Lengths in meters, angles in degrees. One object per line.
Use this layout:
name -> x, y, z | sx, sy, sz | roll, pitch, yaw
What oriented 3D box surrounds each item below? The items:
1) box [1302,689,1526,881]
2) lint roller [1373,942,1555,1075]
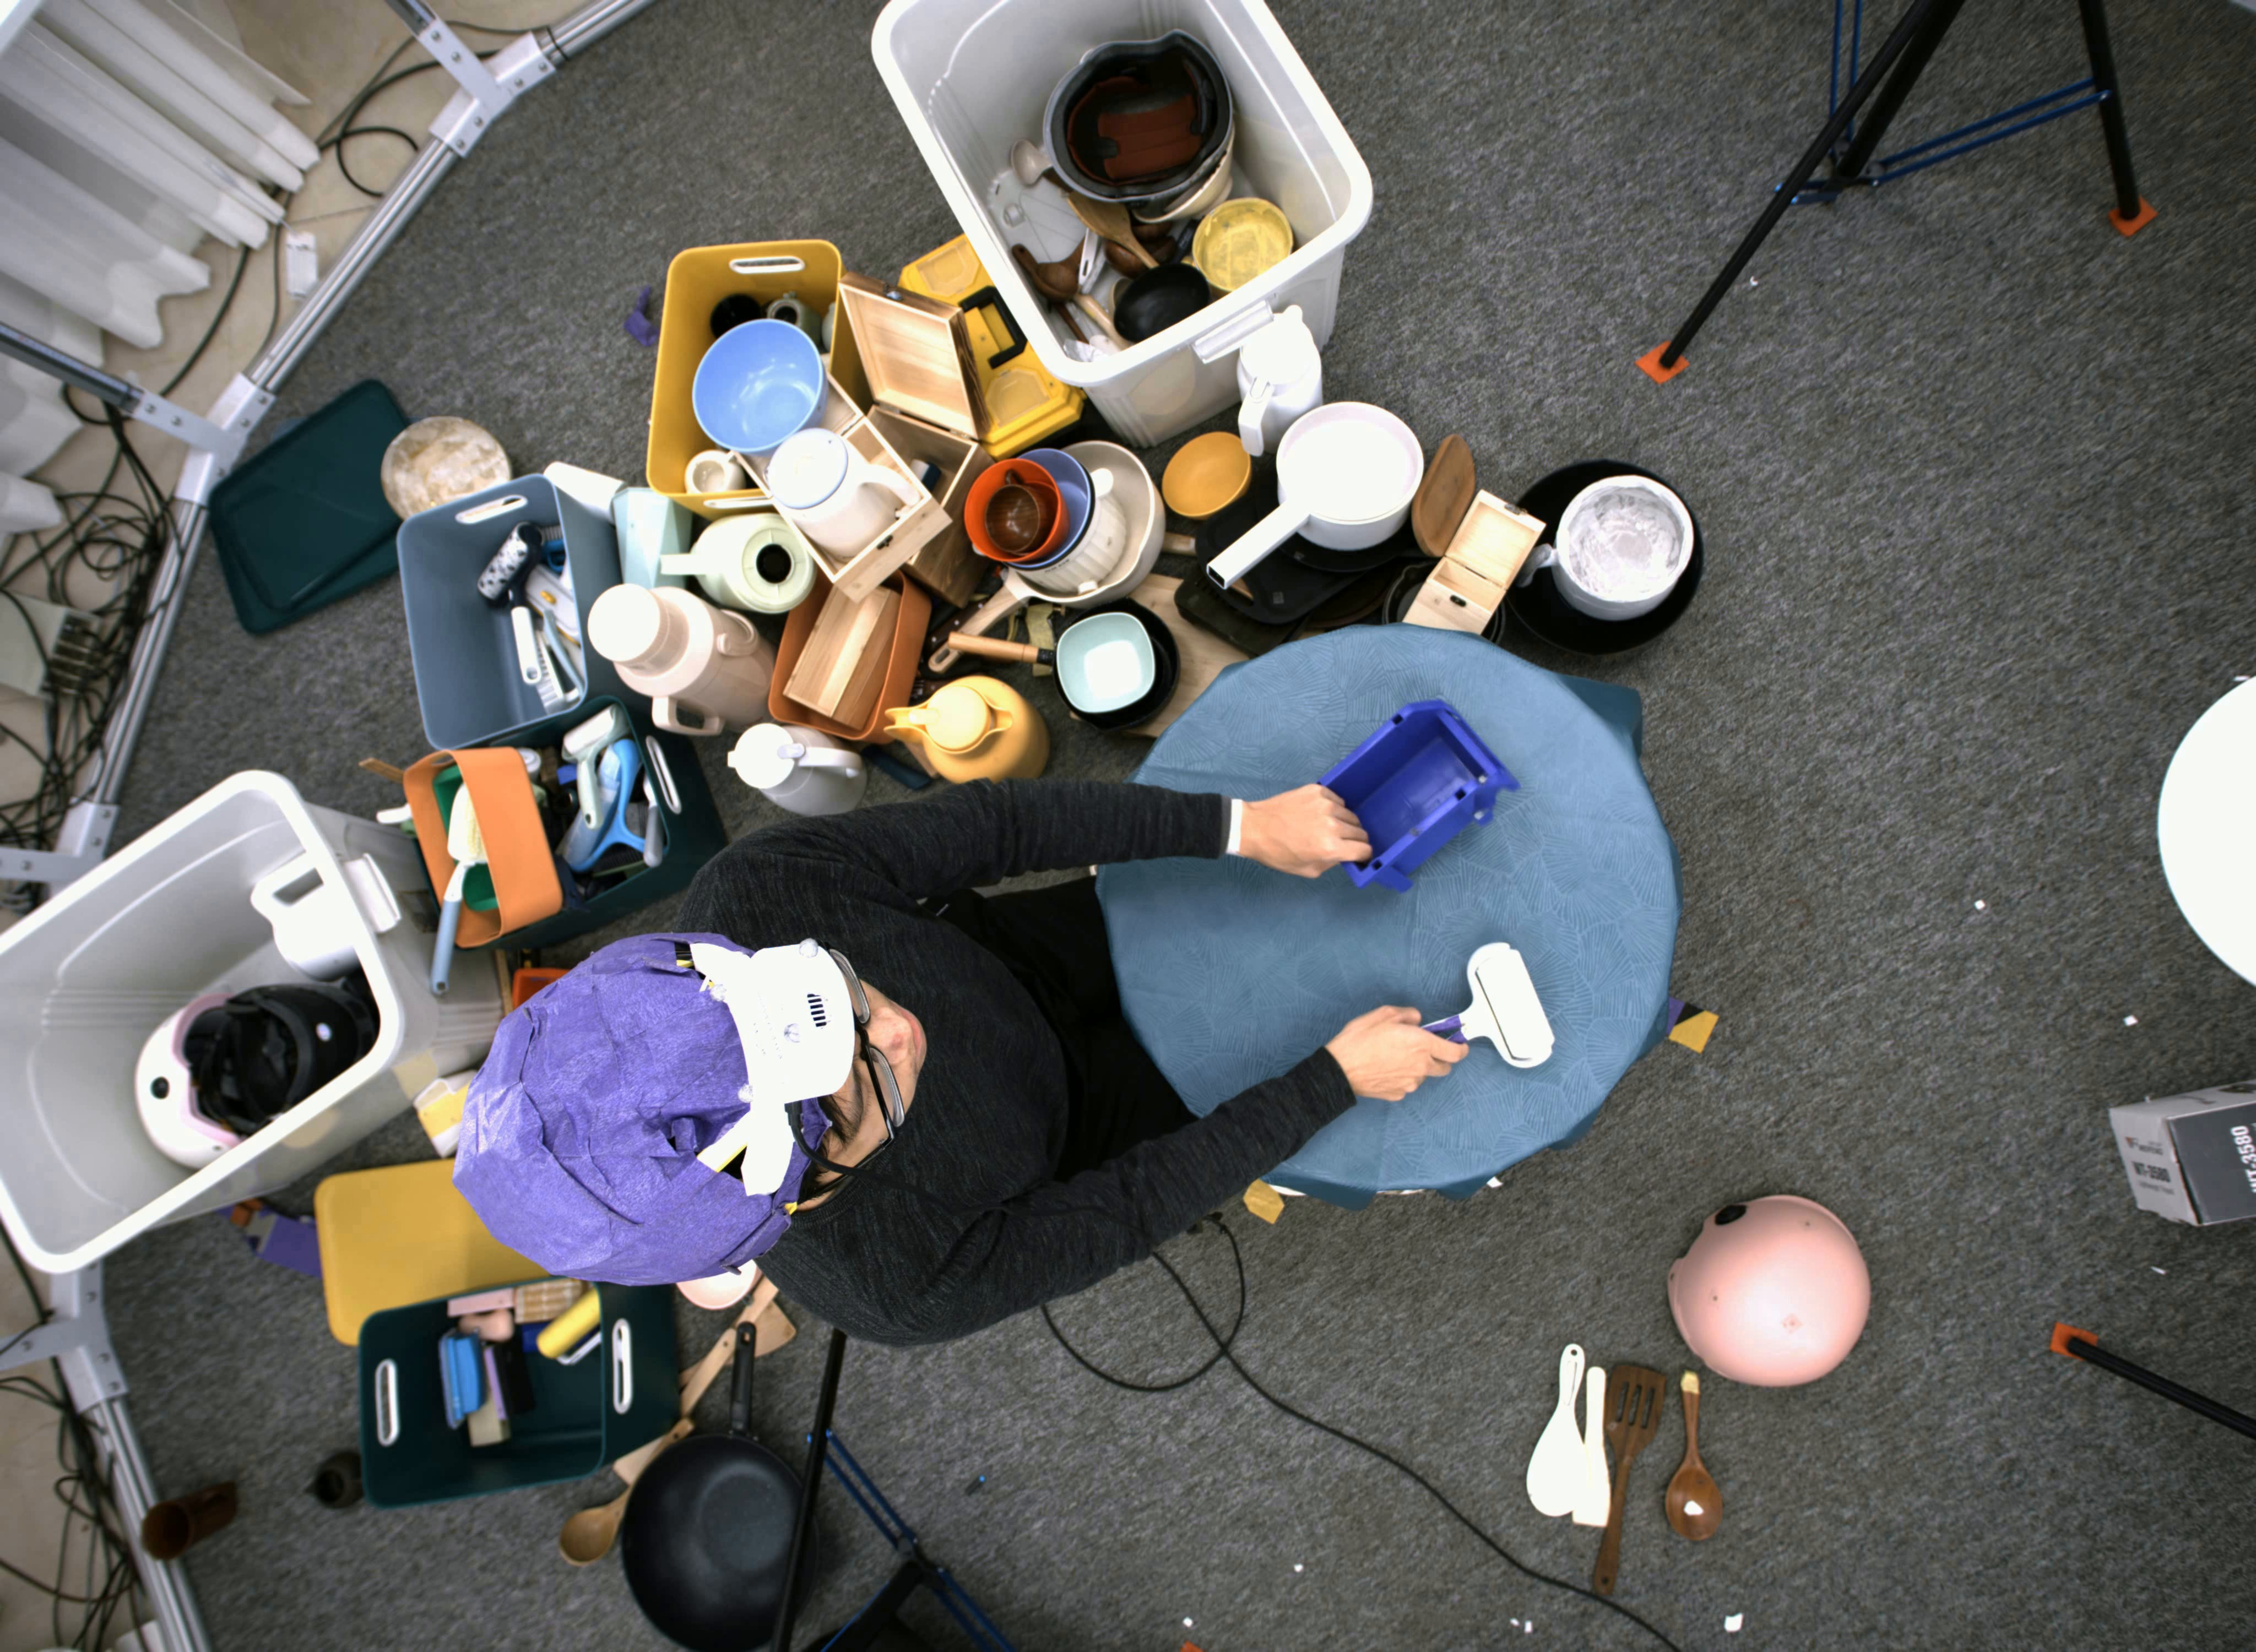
box -> 0.286, -0.043, 1.380 | 0.182, 0.082, 0.122 | -44, 59, 17
lint roller -> 0.332, 0.204, 1.395 | 0.180, 0.050, 0.133 | -25, 98, -3
